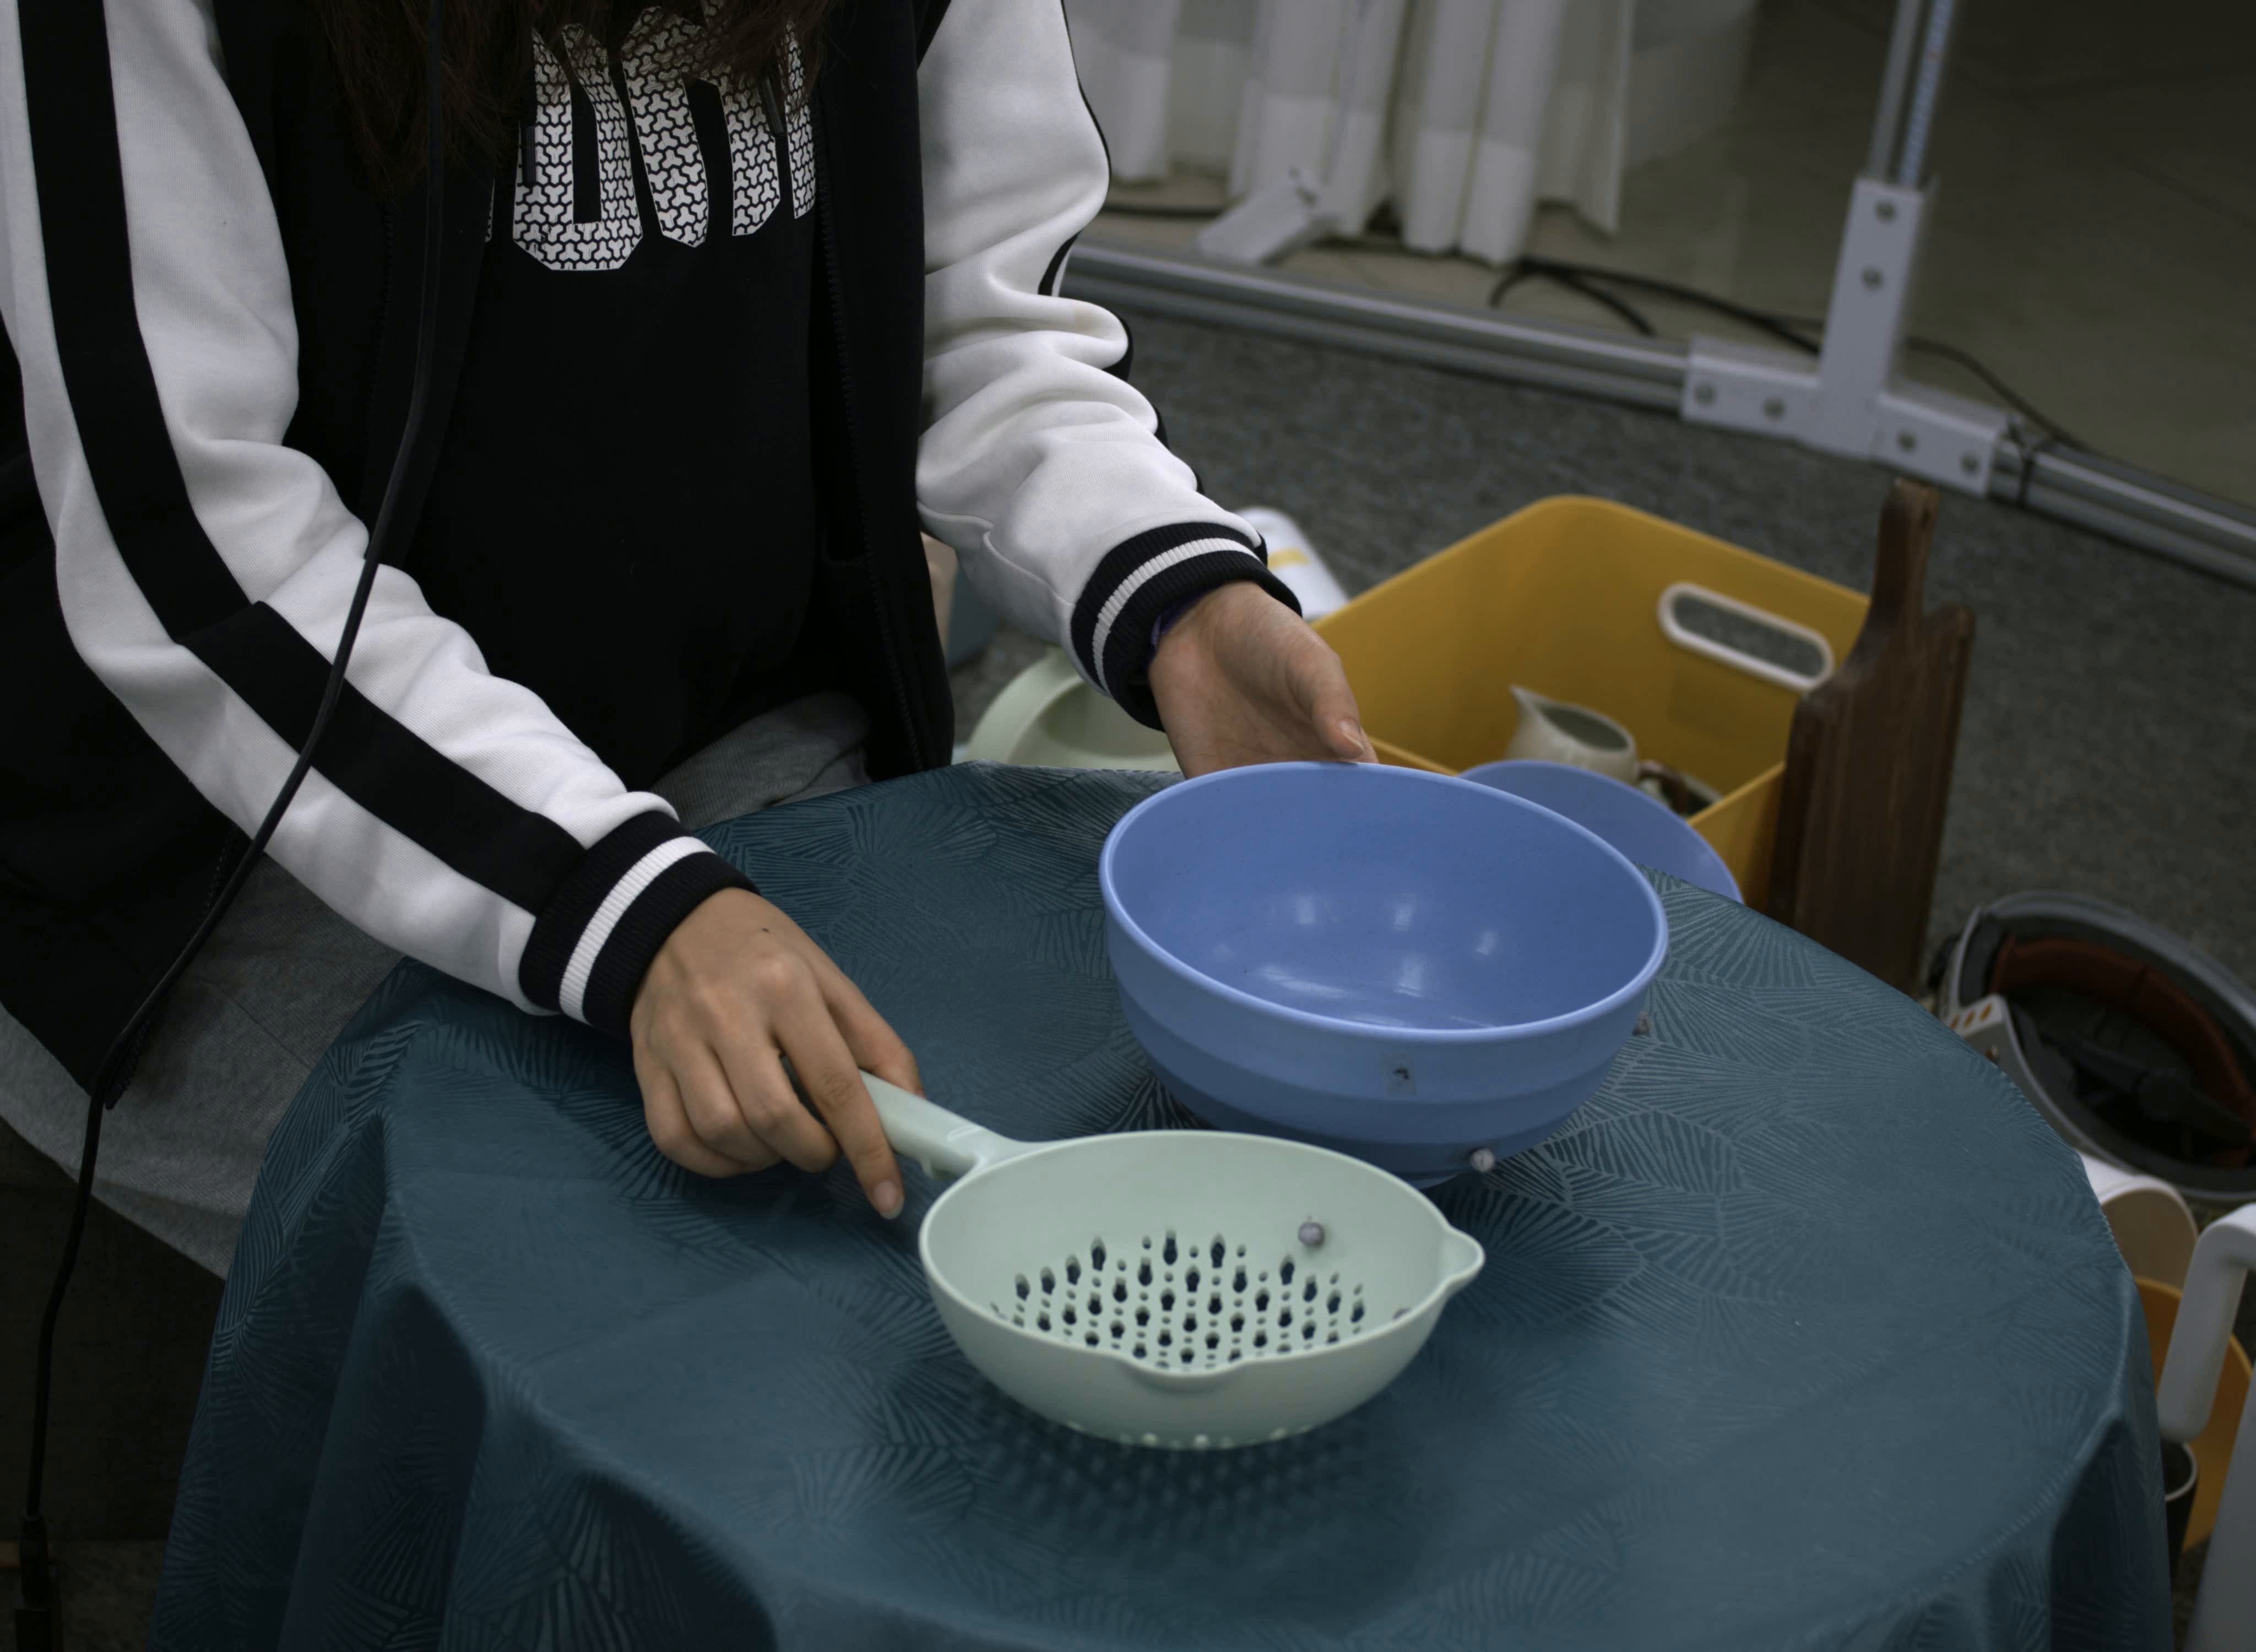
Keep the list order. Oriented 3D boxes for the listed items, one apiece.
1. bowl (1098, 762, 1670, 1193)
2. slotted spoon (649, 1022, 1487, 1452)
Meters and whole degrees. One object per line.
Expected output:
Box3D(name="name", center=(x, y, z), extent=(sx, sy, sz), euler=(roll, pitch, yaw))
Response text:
Box3D(name="bowl", center=(0.083, 0.063, 1.834), extent=(0.196, 0.095, 0.198), euler=(5, 27, -3))
Box3D(name="slotted spoon", center=(-0.046, 0.118, 1.740), extent=(0.168, 0.075, 0.362), euler=(-15, 32, -39))
